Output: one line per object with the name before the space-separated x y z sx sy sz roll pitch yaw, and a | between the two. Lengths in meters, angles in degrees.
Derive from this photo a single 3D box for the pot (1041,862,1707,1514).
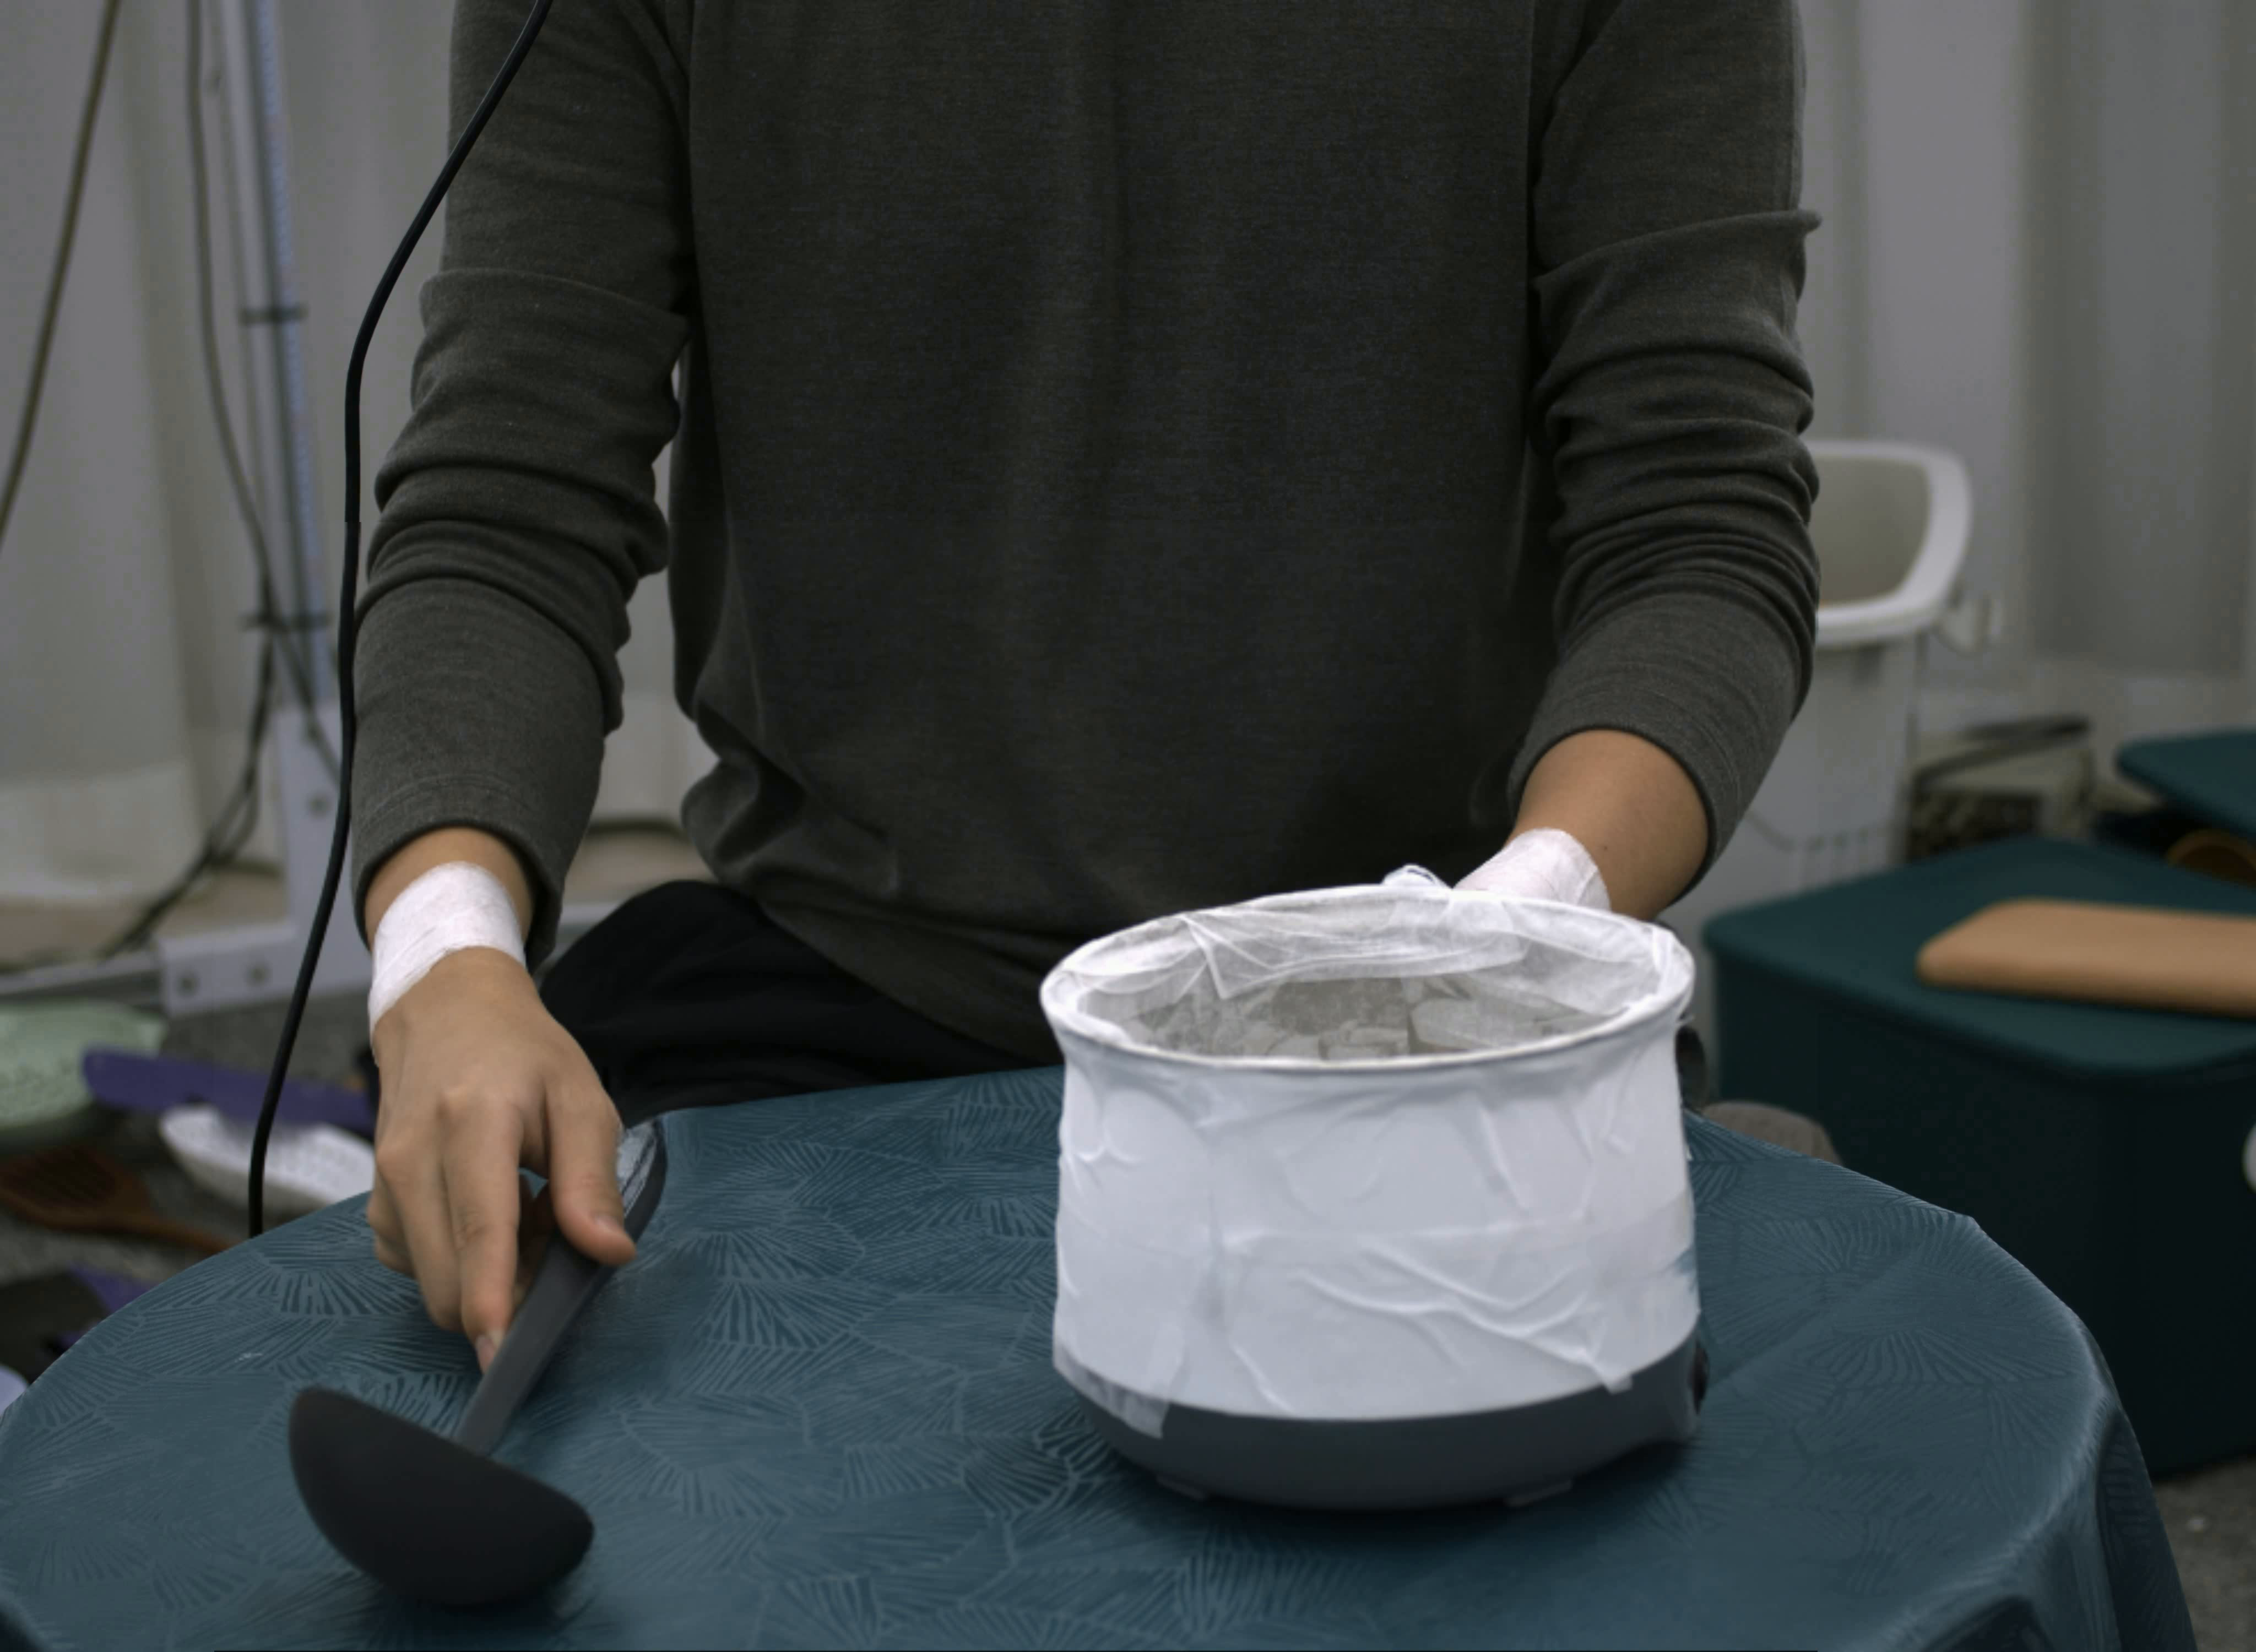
pot | 0.071 0.094 1.514 0.178 0.136 0.235 0 14 10

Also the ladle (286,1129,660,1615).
ladle | -0.162 0.132 1.526 0.086 0.063 0.316 31 21 -3
